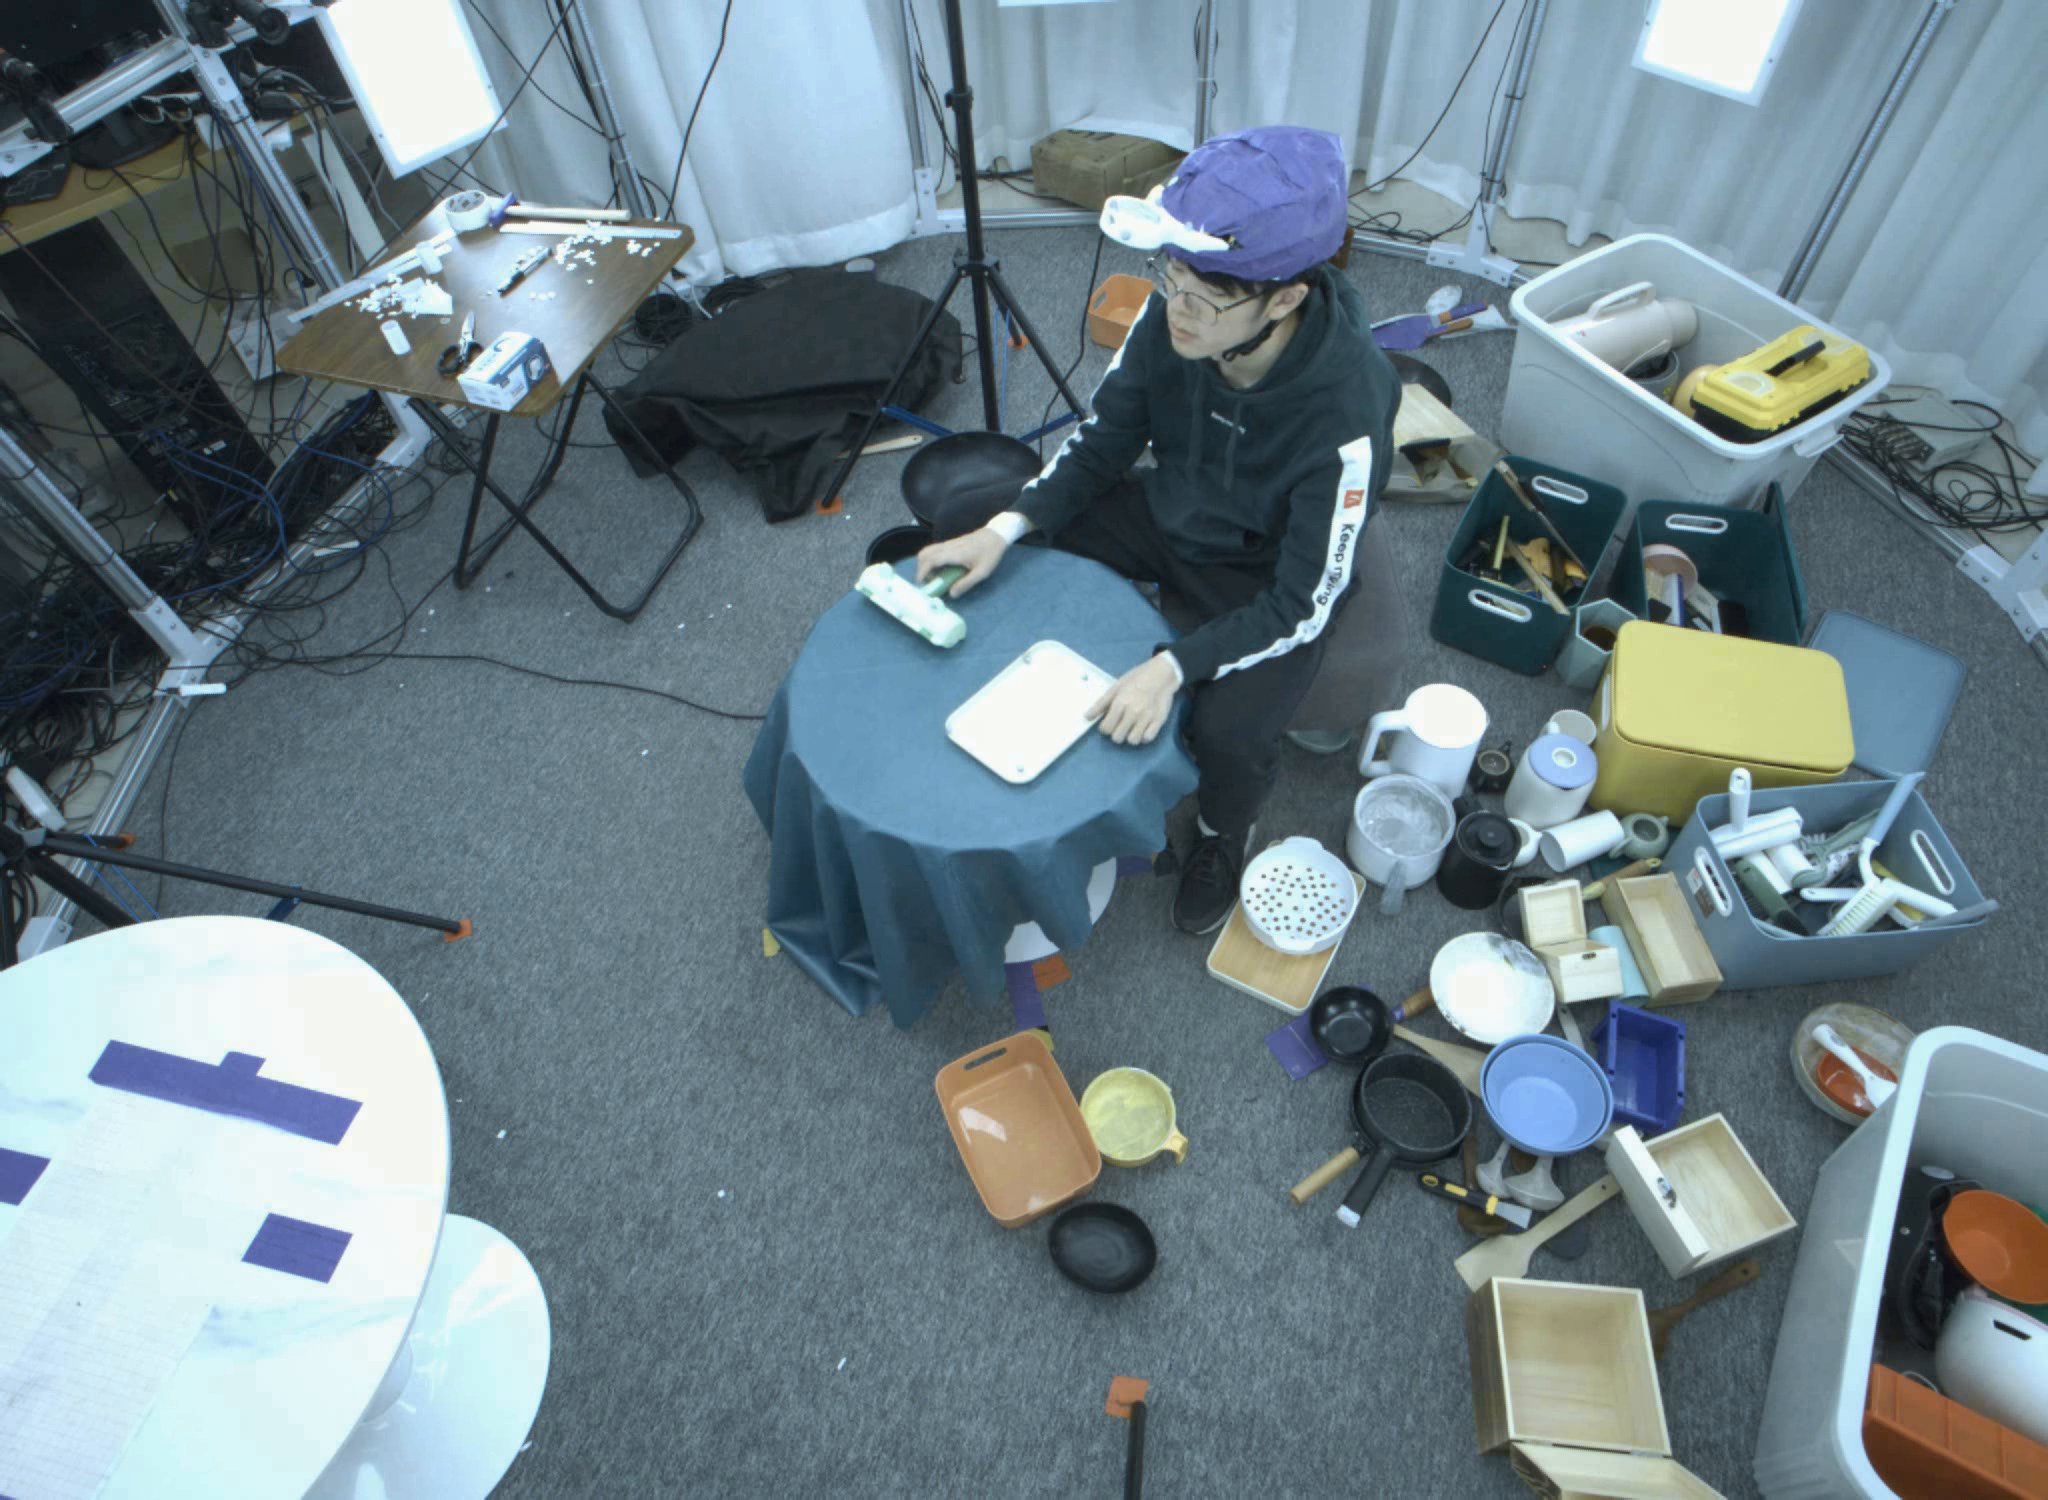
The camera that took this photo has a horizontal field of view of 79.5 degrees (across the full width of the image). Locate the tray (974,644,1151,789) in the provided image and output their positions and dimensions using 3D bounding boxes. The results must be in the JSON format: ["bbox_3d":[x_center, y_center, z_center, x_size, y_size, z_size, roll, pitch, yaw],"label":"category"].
[{"bbox_3d":[0.058,-0.051,1.806,0.168,0.017,0.241,38,64,24],"label":"tray"}]

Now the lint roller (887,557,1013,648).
[{"bbox_3d":[-0.090,-0.266,1.927,0.195,0.083,0.184,38,69,25],"label":"lint roller"}]
